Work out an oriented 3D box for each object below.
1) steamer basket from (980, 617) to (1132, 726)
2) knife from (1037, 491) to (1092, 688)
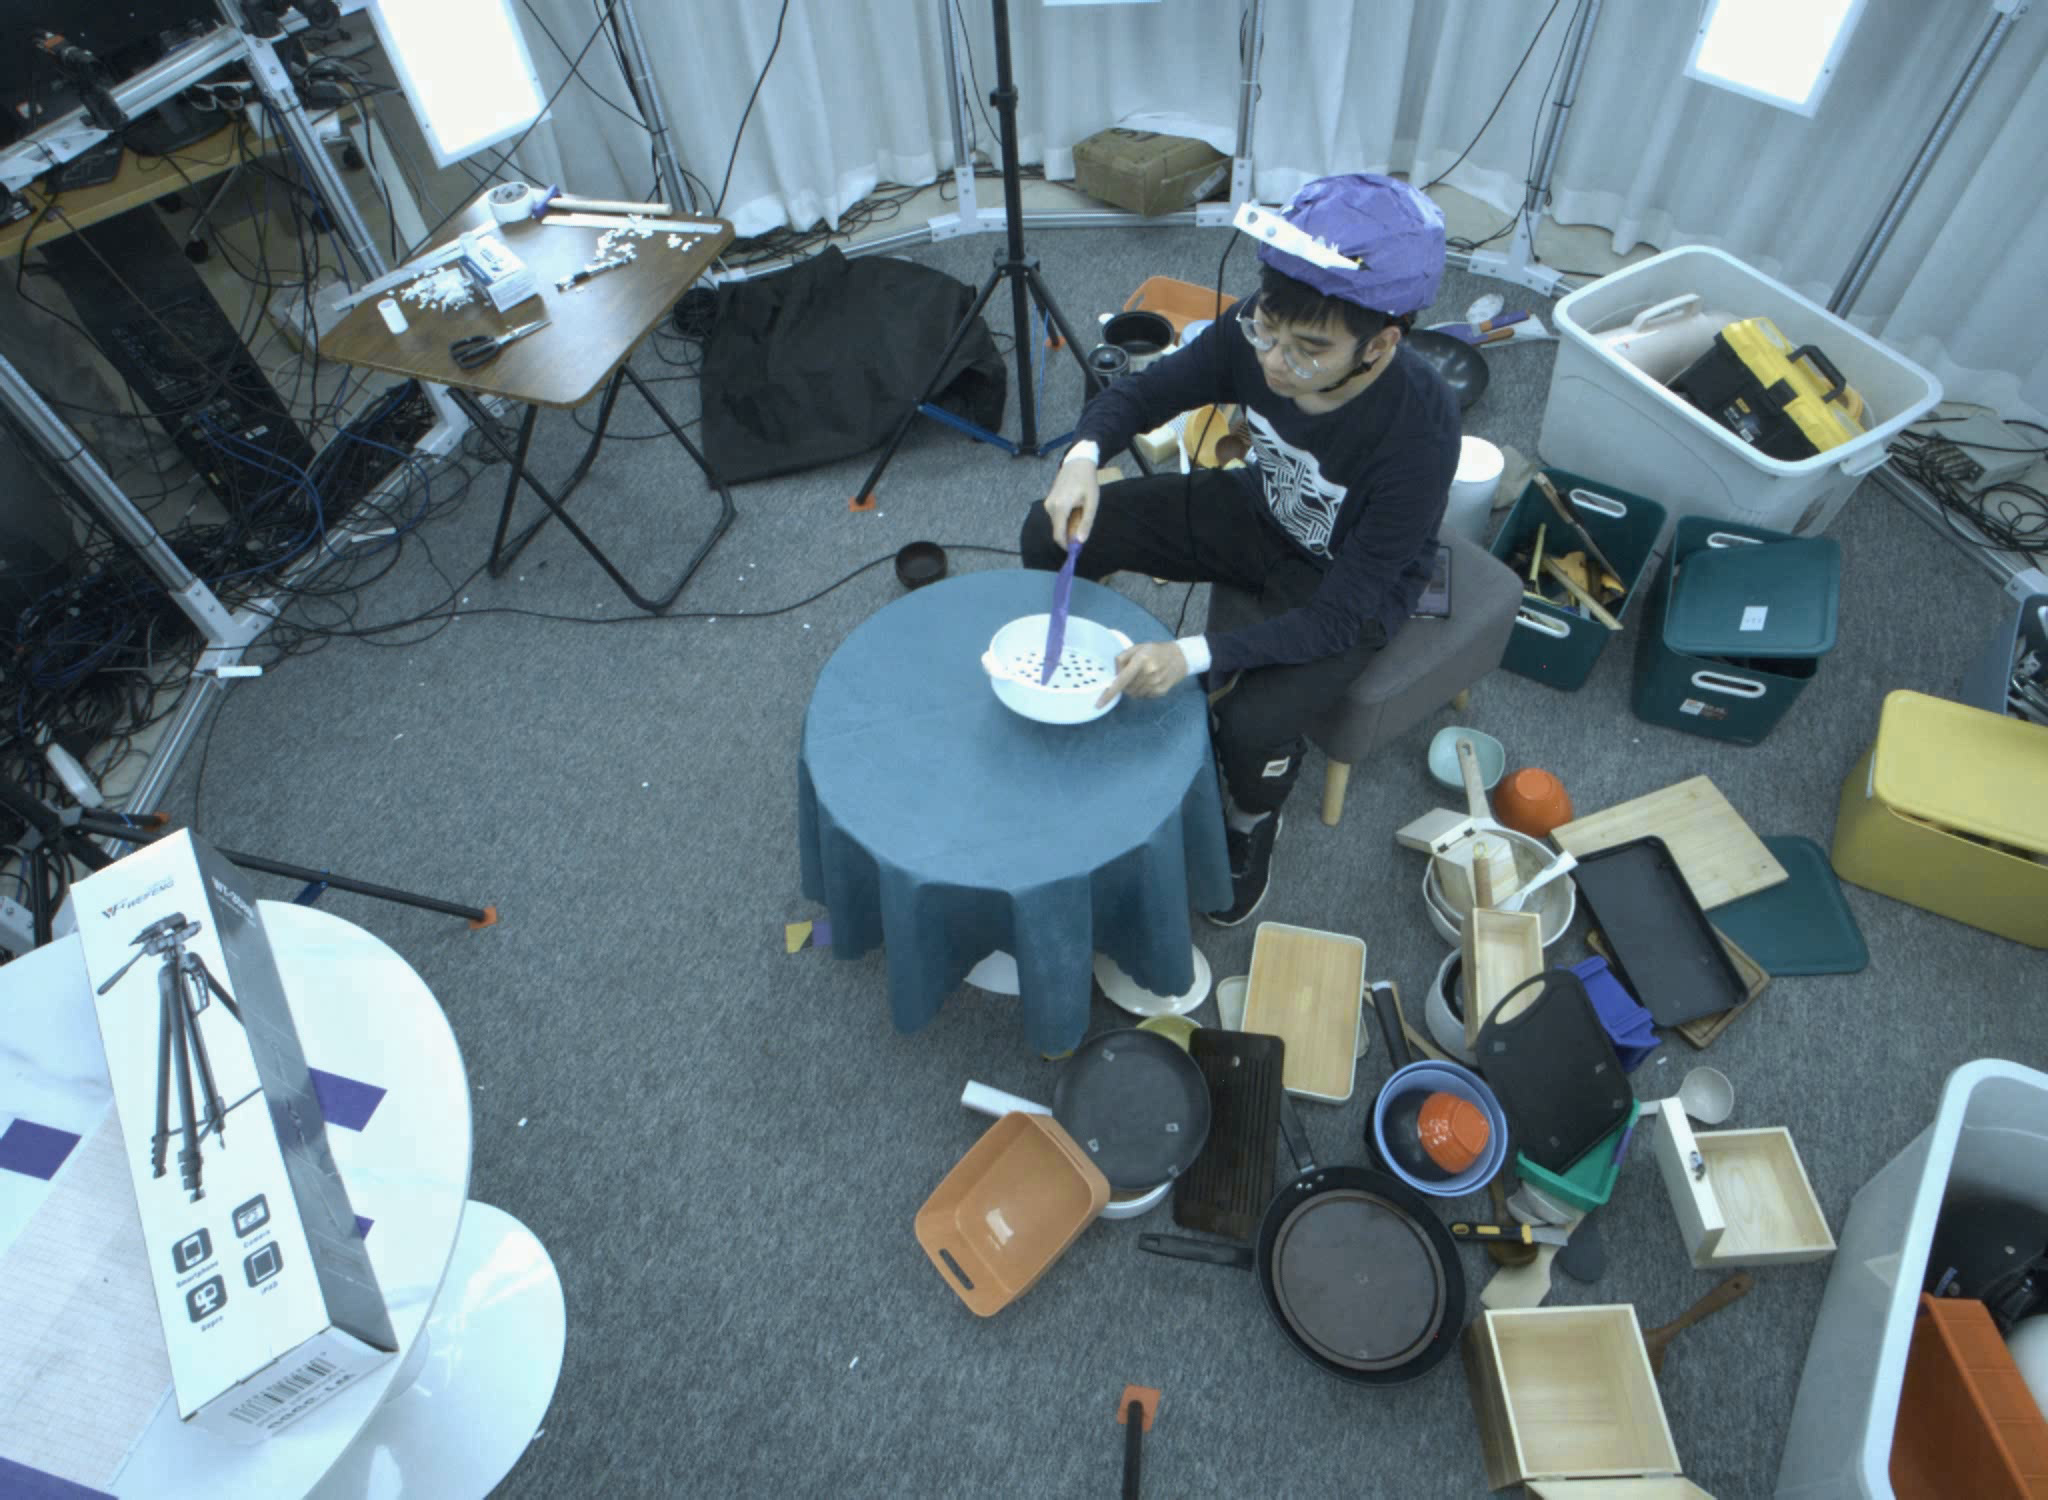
[{"bbox_3d":[0.045,-0.114,1.795,0.234,0.069,0.197,-10,42,-24],"label":"steamer basket"},{"bbox_3d":[0.052,-0.232,1.775,0.032,0.103,0.313,18,60,-13],"label":"knife"}]
